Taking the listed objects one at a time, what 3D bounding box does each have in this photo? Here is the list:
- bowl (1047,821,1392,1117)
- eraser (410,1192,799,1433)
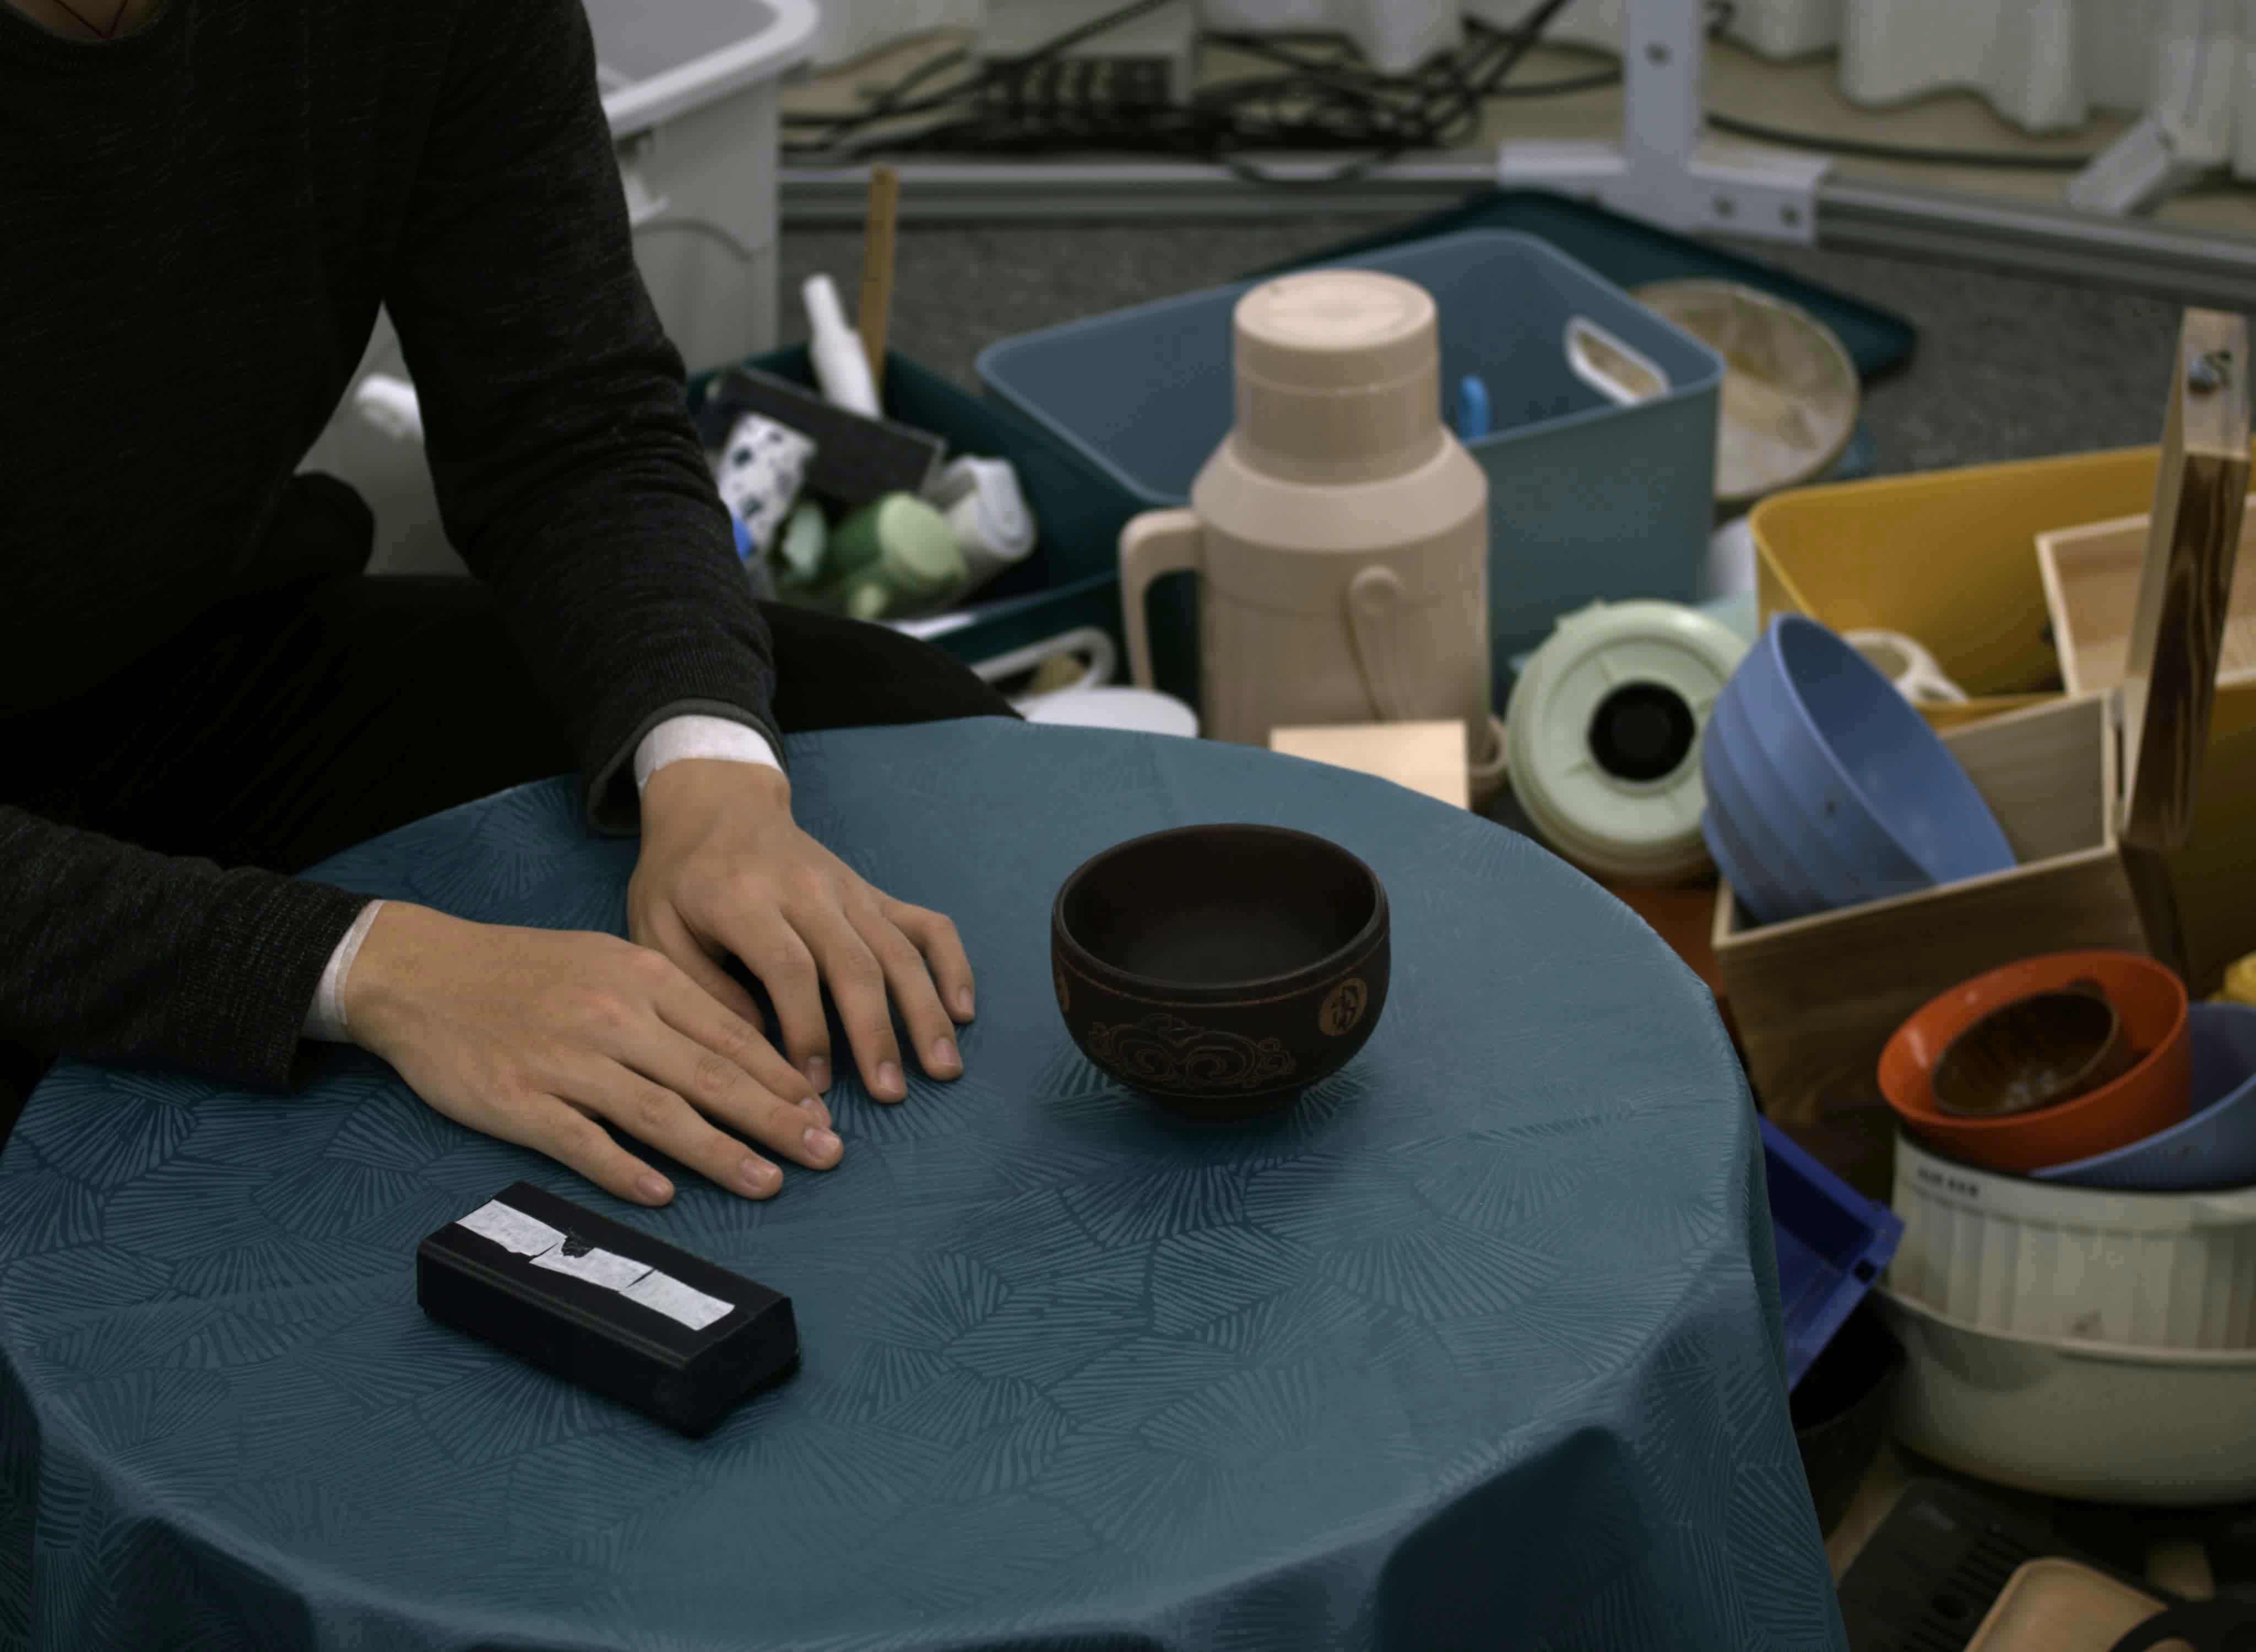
[{"bbox_3d":[0.032,0.055,1.910,0.117,0.069,0.120,-3,27,2],"label":"bowl"},{"bbox_3d":[-0.166,0.154,1.784,0.125,0.030,0.054,18,31,35],"label":"eraser"}]
